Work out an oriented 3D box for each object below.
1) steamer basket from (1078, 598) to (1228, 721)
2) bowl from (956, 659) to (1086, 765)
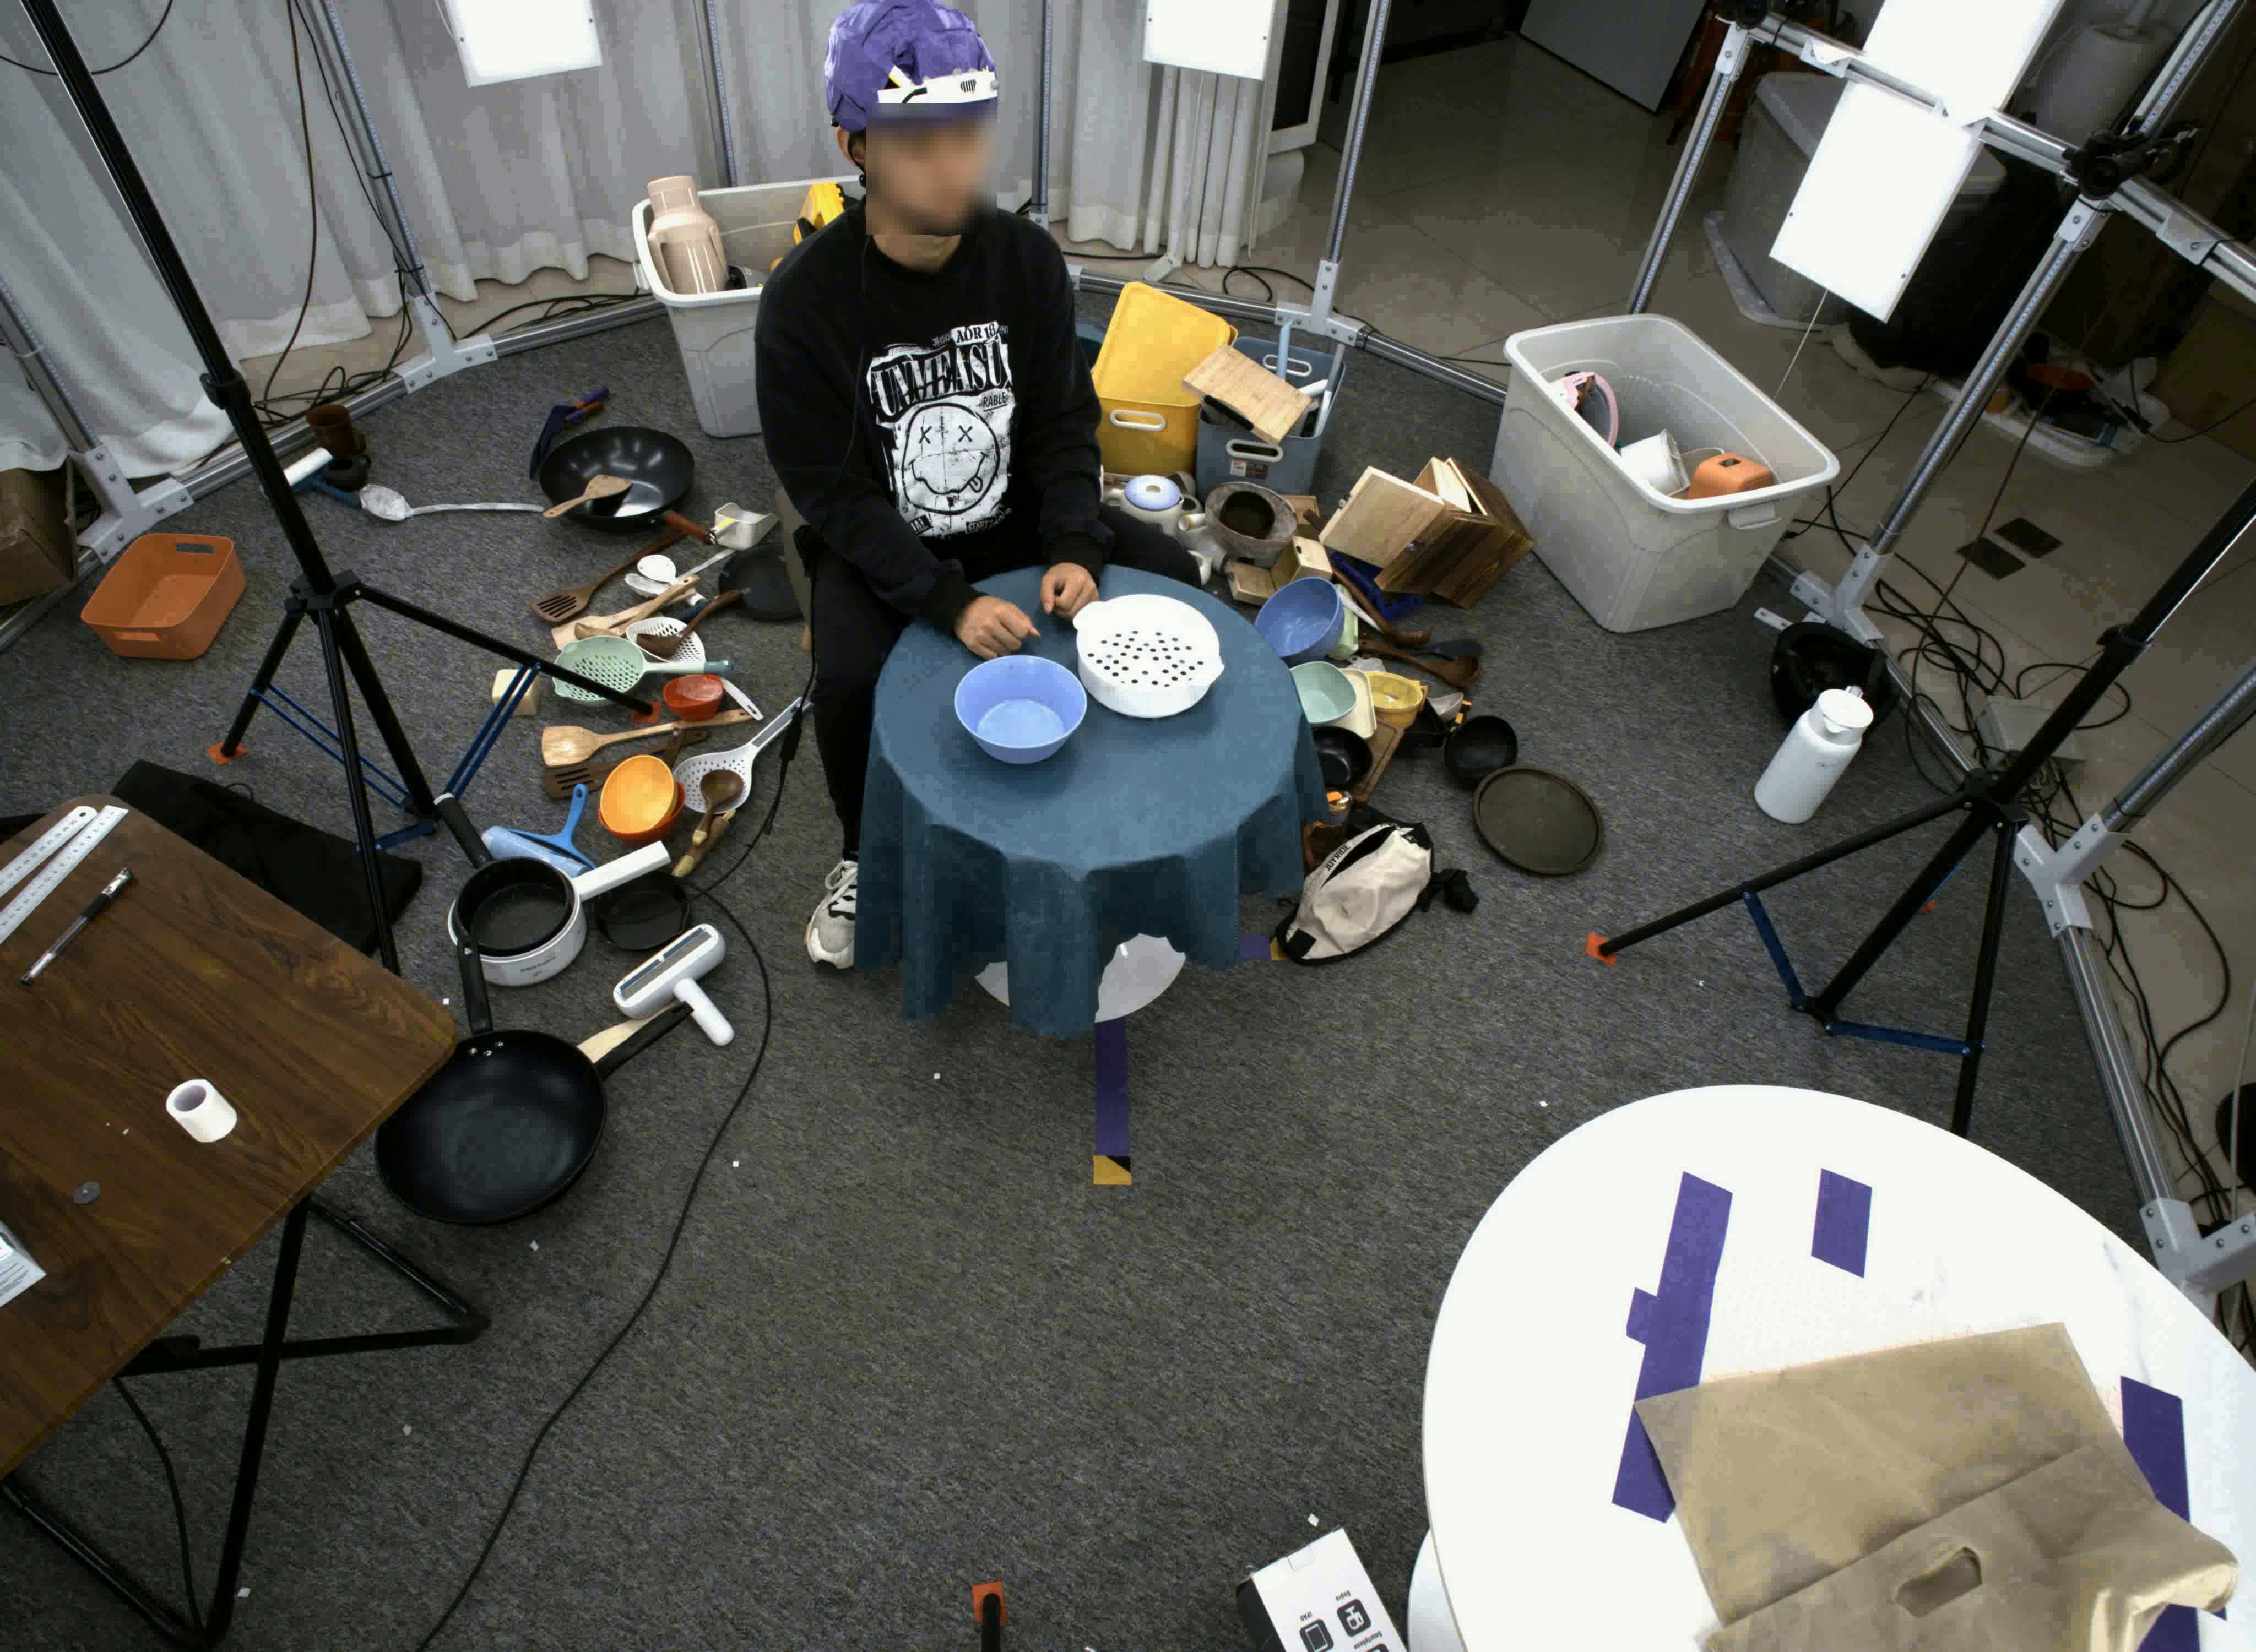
[{"bbox_3d":[0.032,-0.239,1.851,0.232,0.067,0.205,28,53,17],"label":"steamer basket"},{"bbox_3d":[-0.146,-0.147,1.756,0.176,0.068,0.180,2,48,-3],"label":"bowl"}]
